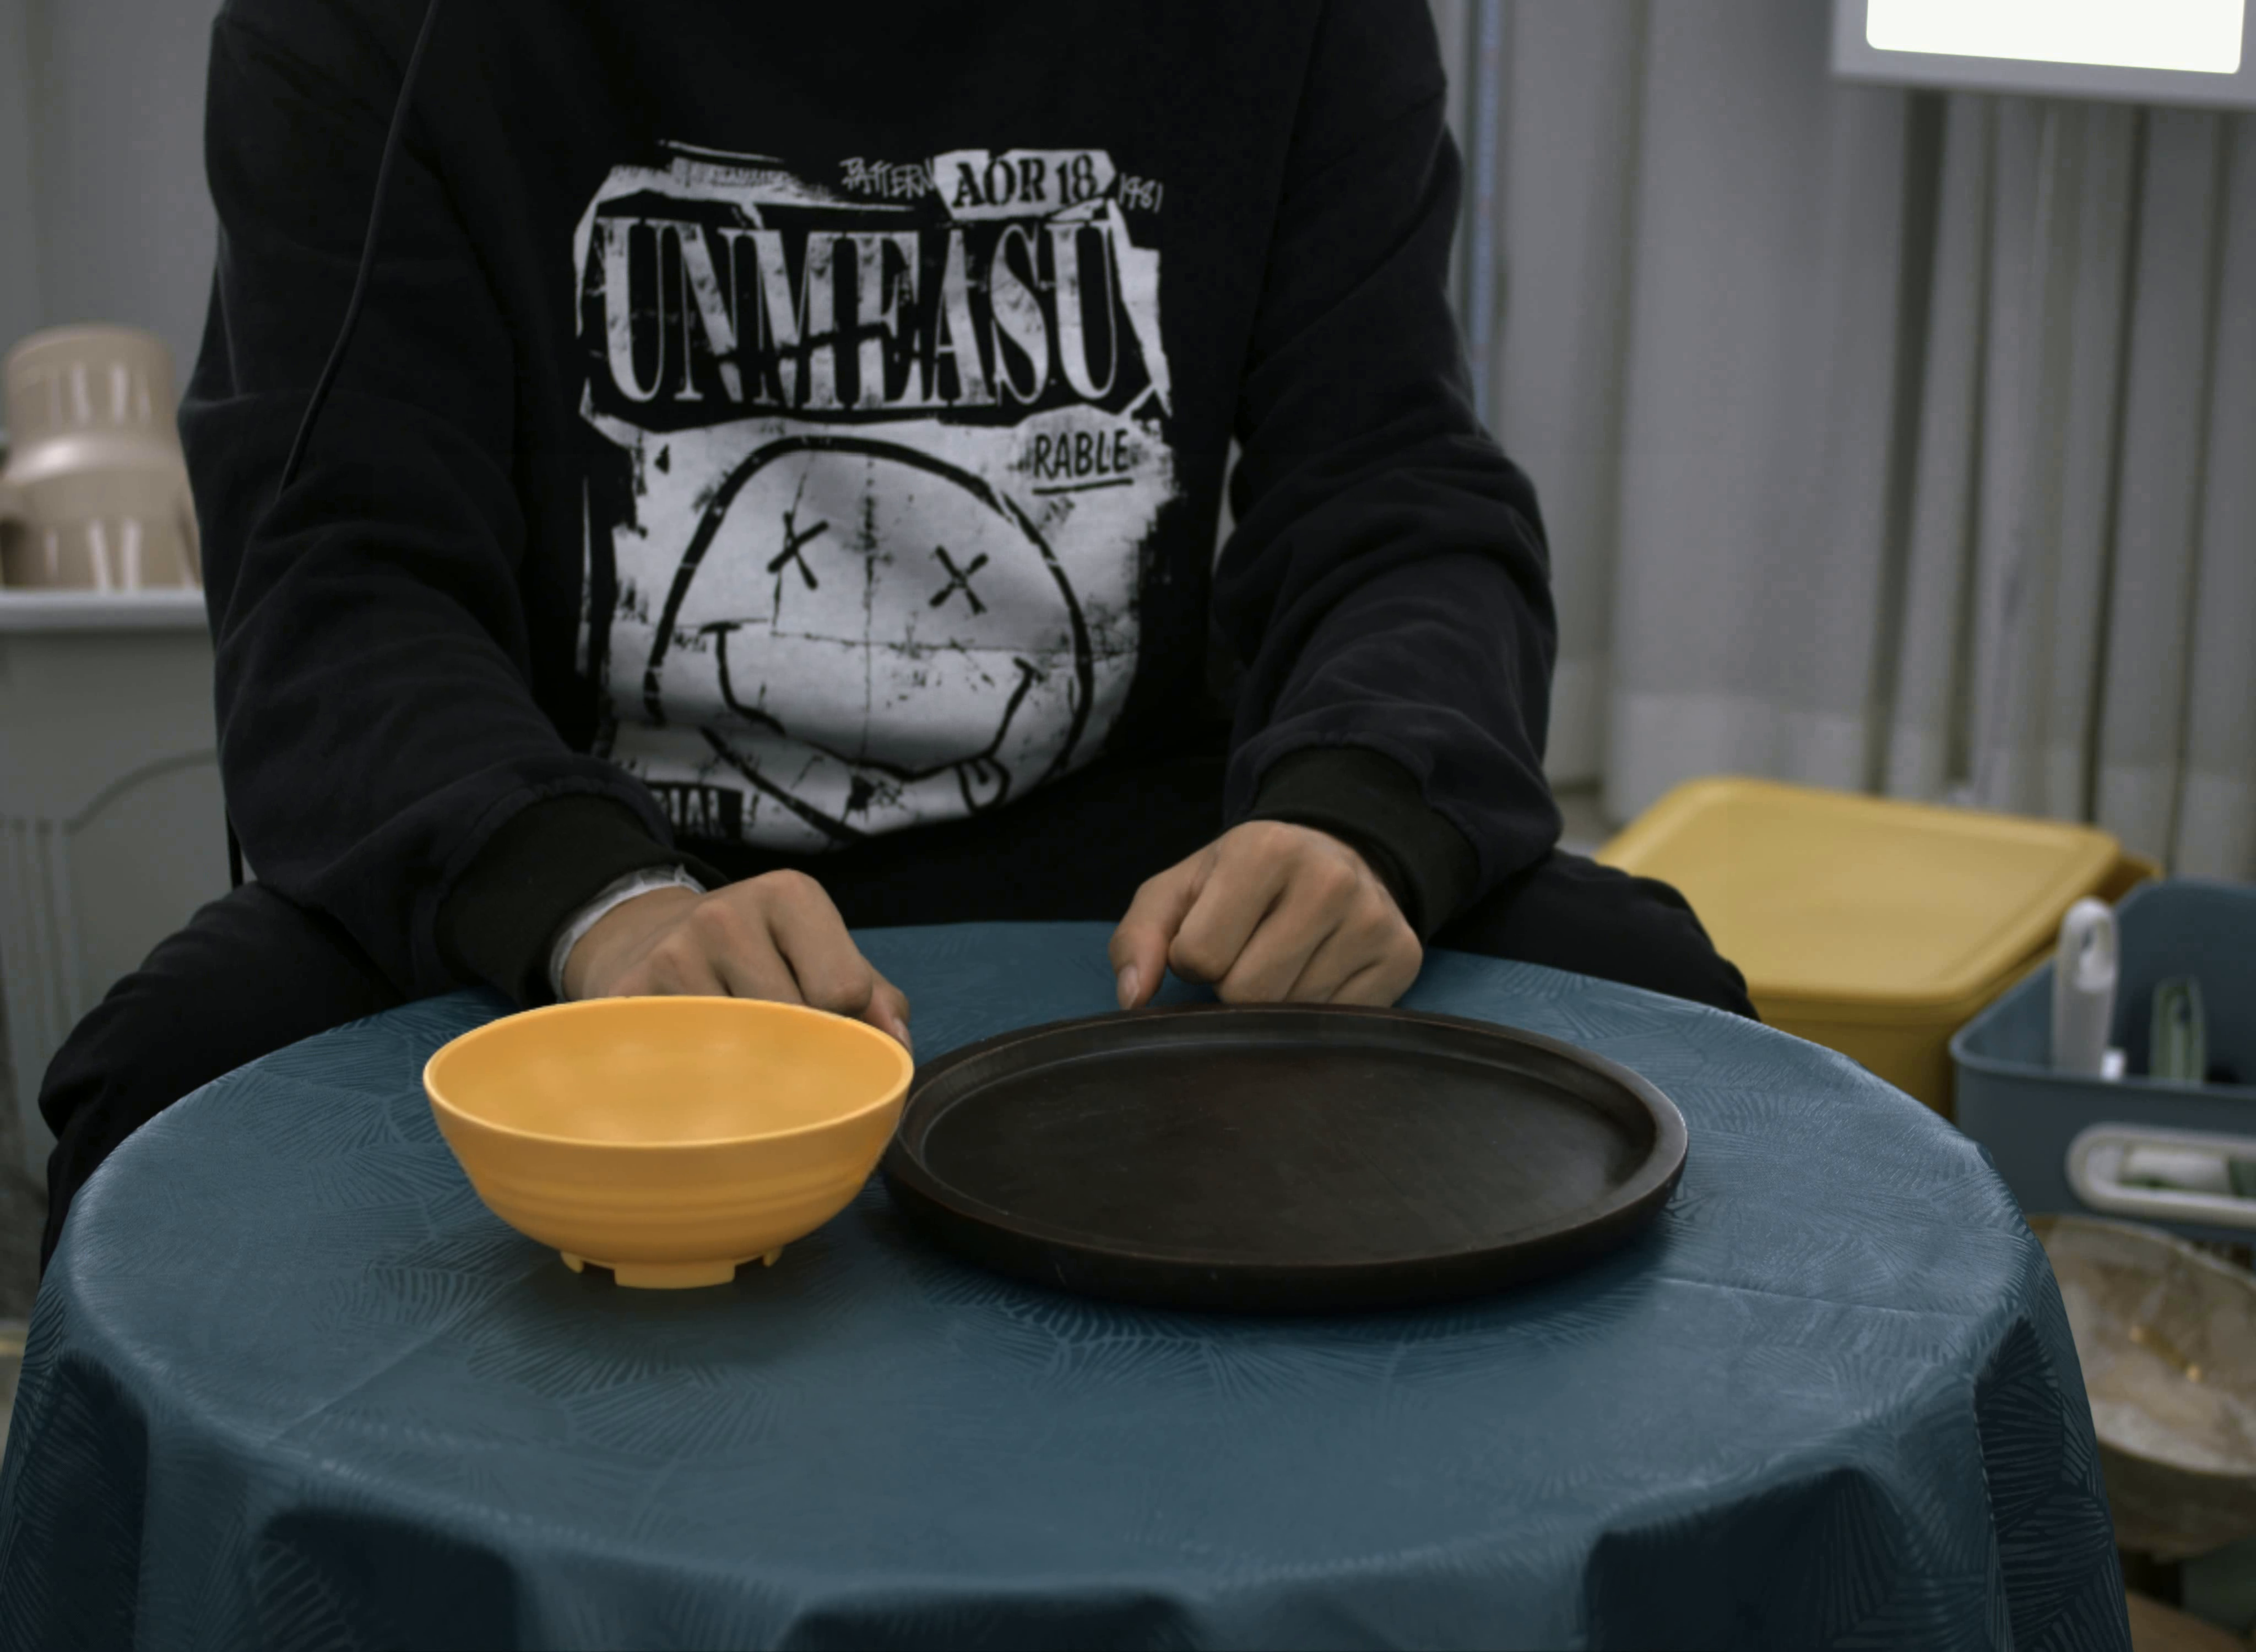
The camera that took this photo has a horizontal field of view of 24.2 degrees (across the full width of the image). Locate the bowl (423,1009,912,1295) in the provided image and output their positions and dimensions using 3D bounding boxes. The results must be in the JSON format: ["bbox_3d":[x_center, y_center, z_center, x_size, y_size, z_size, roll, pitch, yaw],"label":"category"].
[{"bbox_3d":[-0.137,0.101,1.561,0.145,0.060,0.144,2,14,0],"label":"bowl"}]

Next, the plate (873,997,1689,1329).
[{"bbox_3d":[0.047,0.102,1.627,0.254,0.029,0.253,-1,16,1],"label":"plate"}]
